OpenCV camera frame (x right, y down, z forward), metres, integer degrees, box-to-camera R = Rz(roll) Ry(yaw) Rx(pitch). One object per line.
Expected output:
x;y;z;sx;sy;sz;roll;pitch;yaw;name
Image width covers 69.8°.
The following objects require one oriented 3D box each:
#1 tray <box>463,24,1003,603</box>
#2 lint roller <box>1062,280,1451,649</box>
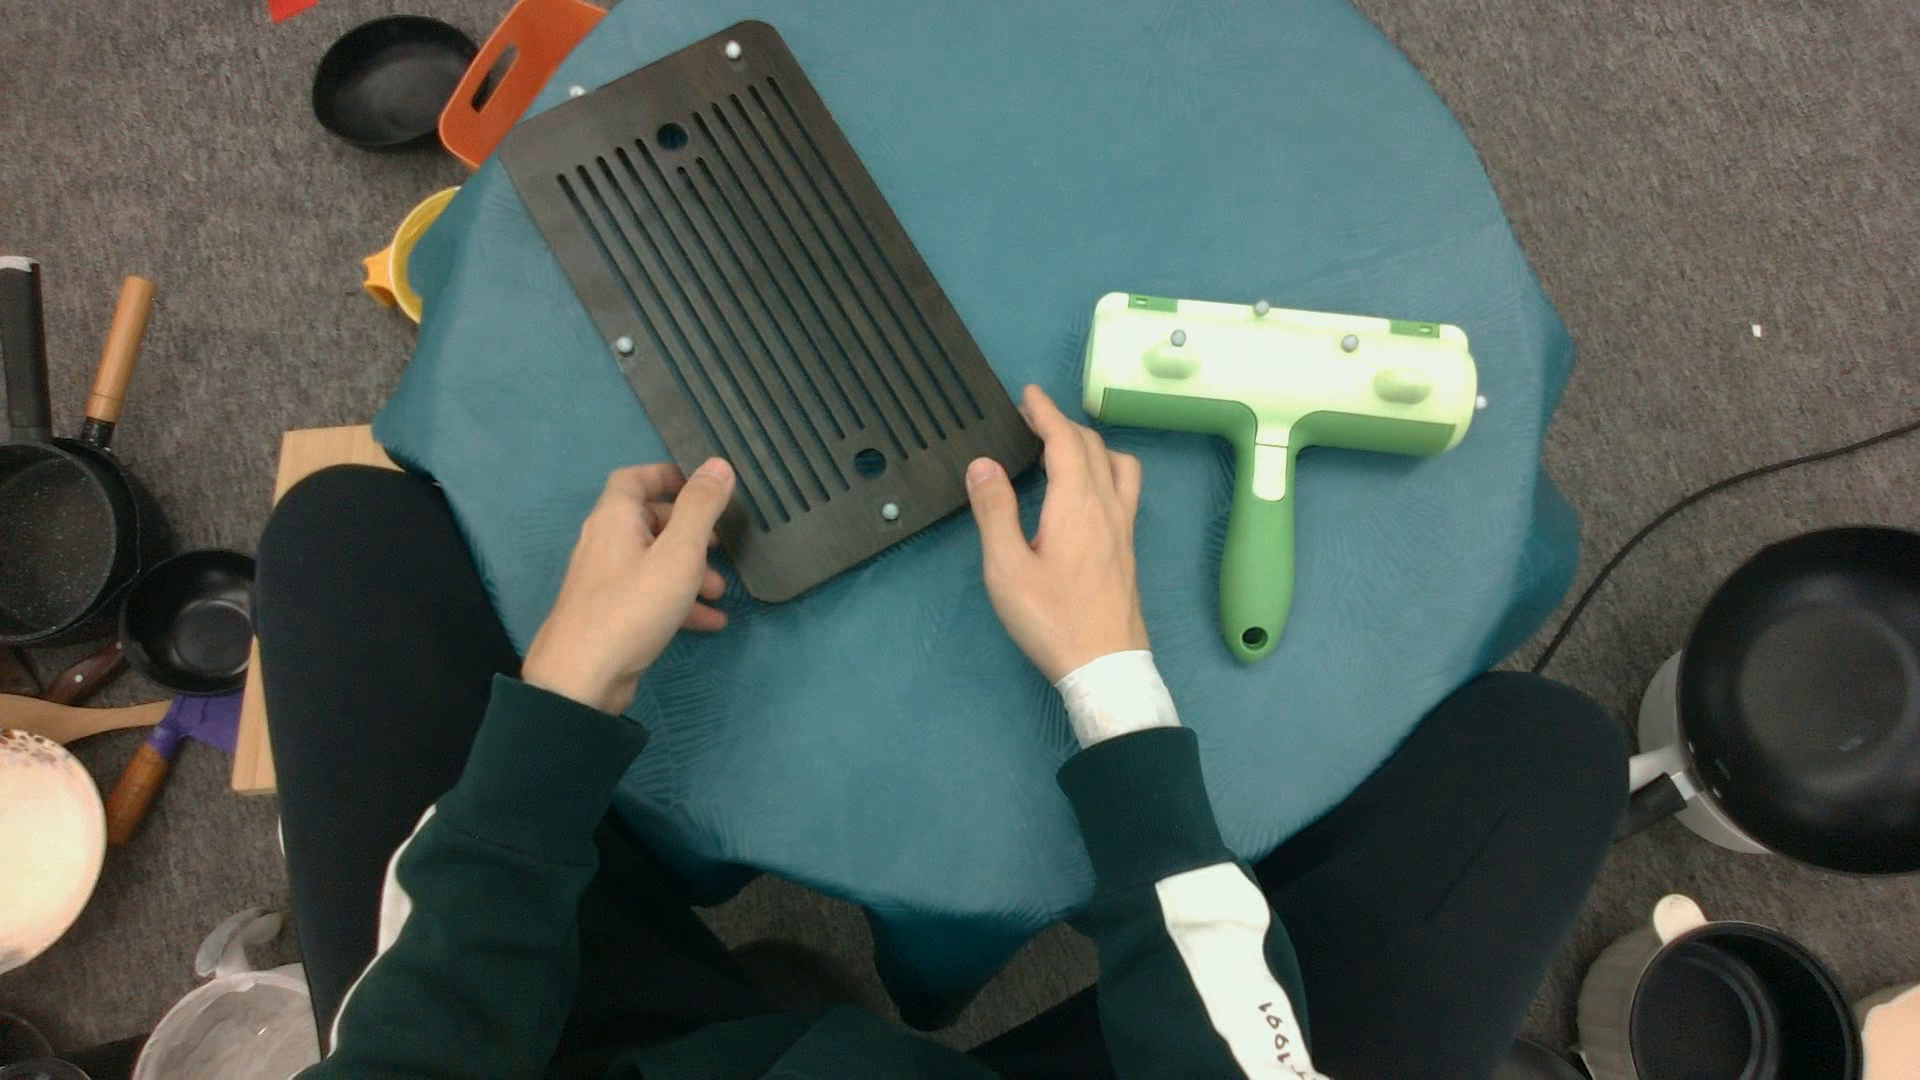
-0.122;-0.128;0.732;0.170;0.018;0.306;-28;78;-15;tray
0.149;-0.041;0.699;0.198;0.082;0.184;5;73;-1;lint roller
